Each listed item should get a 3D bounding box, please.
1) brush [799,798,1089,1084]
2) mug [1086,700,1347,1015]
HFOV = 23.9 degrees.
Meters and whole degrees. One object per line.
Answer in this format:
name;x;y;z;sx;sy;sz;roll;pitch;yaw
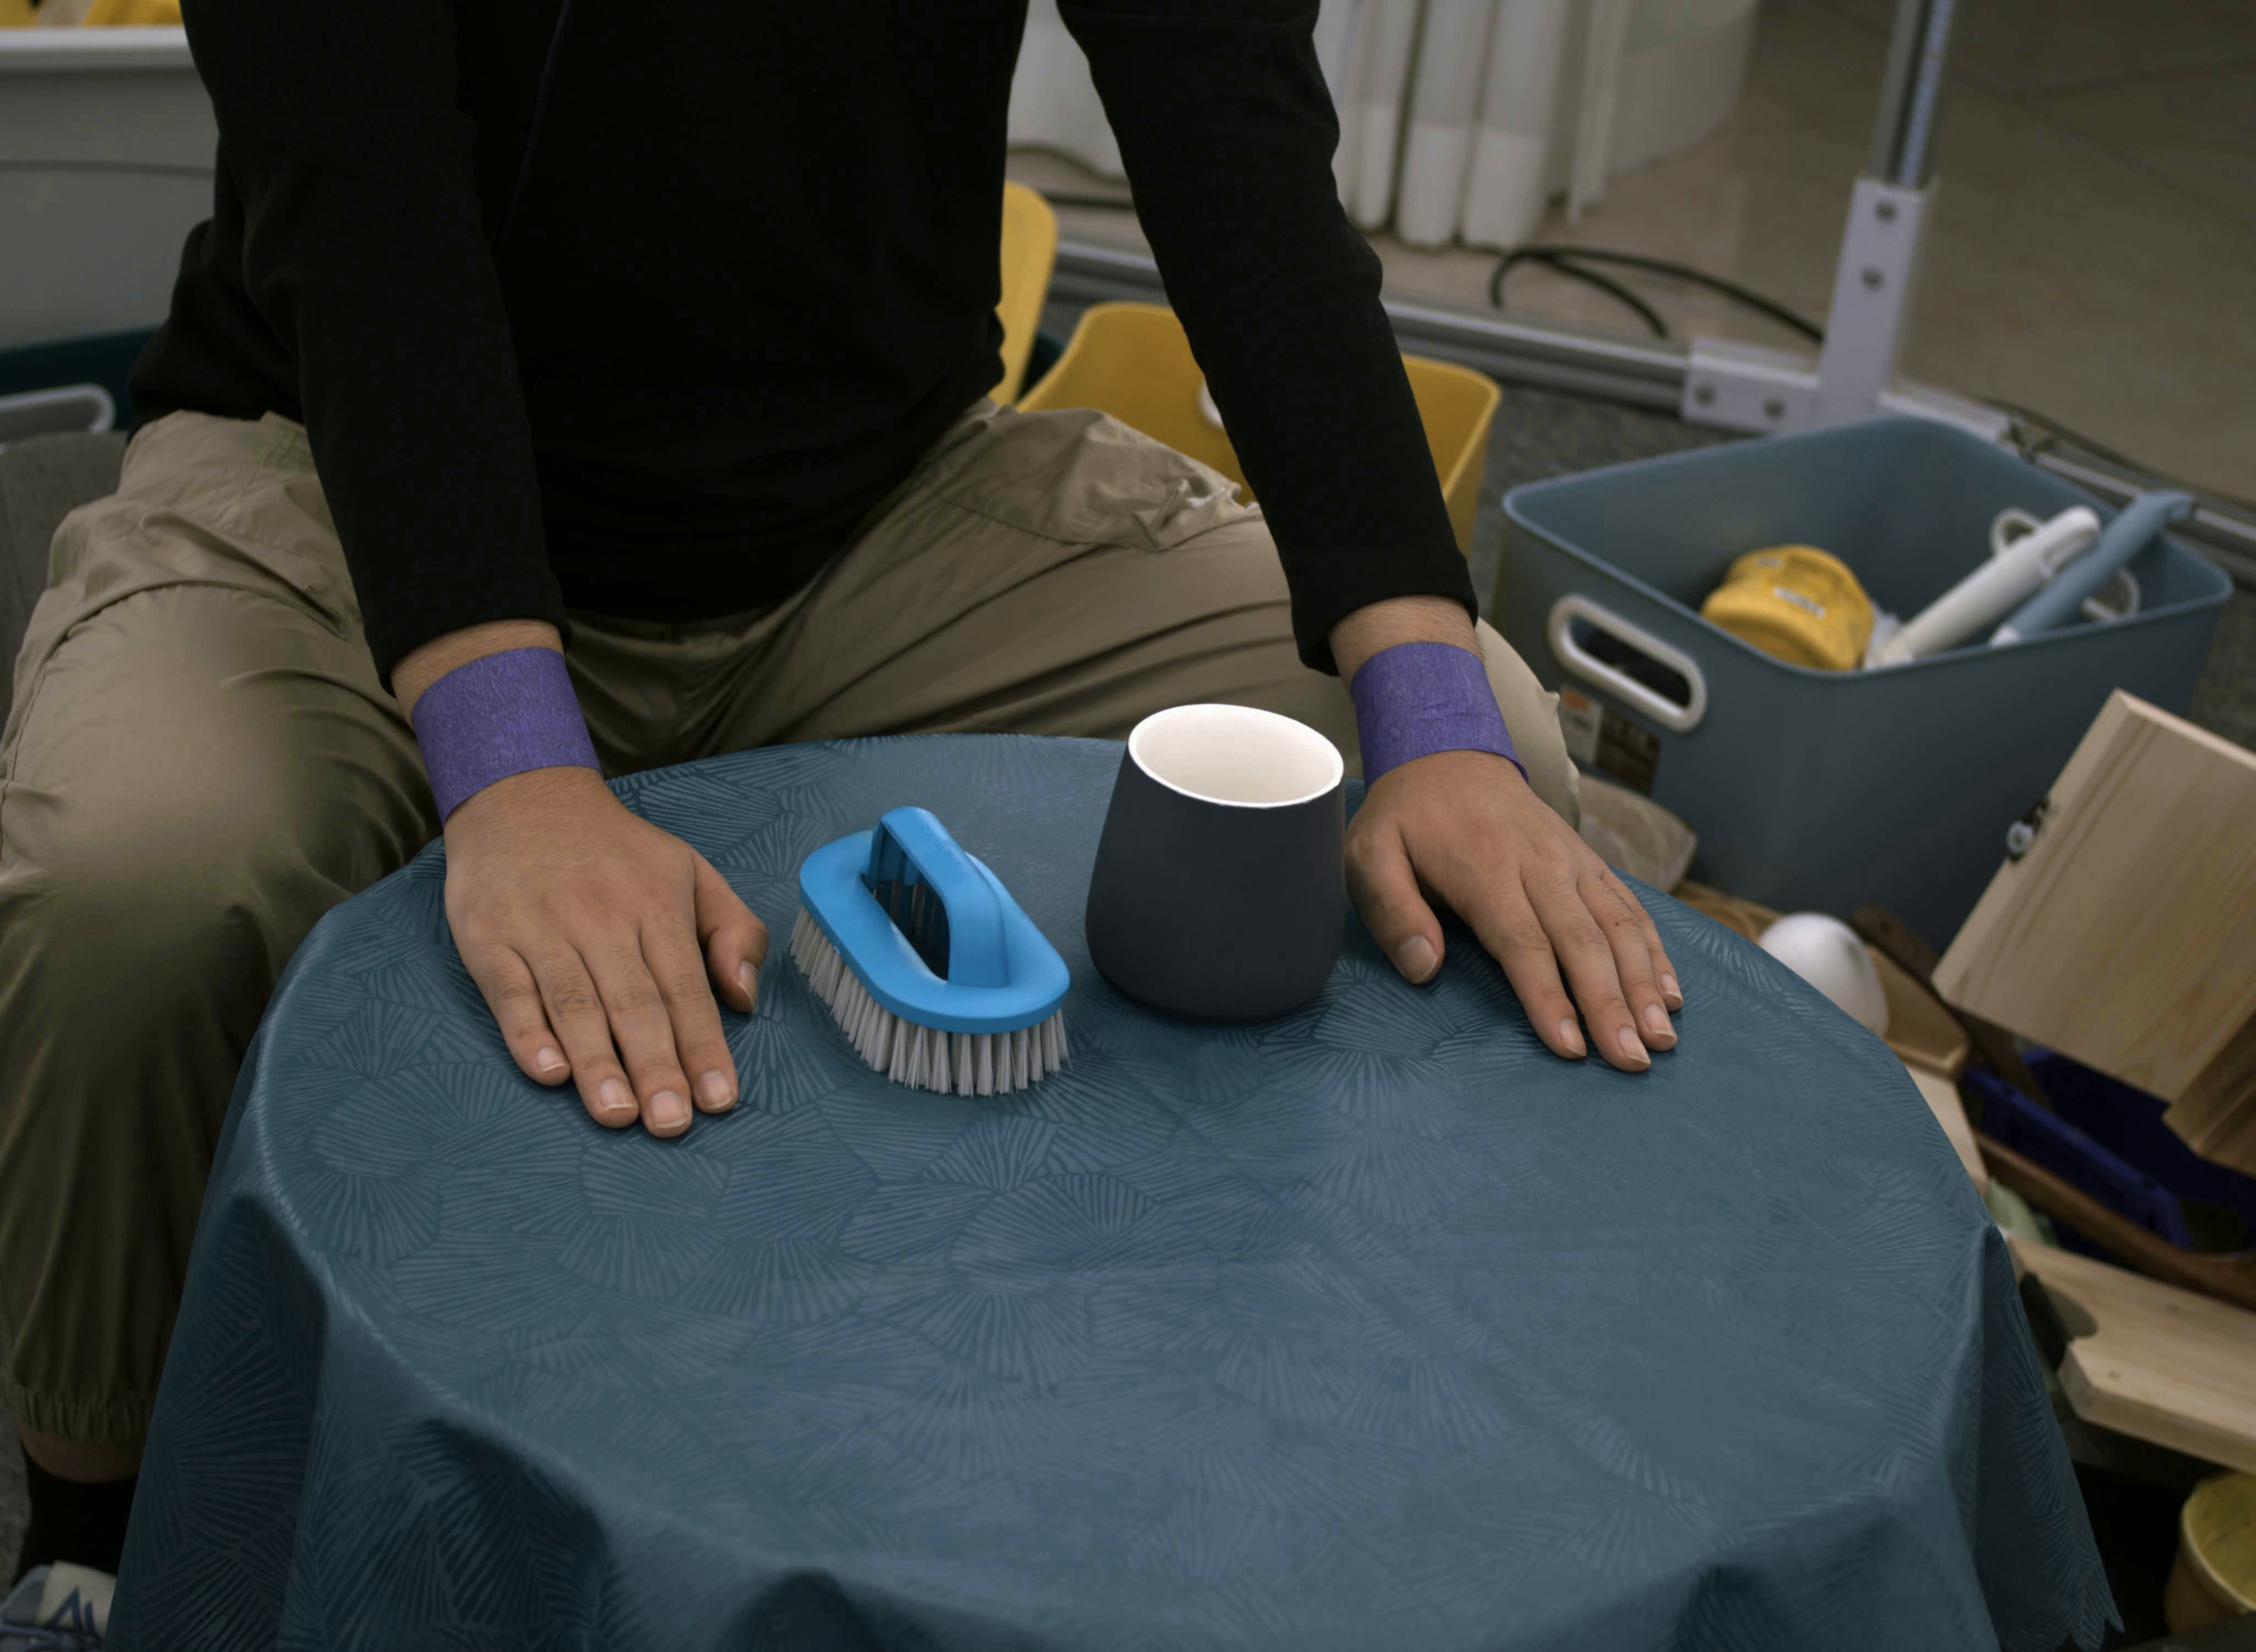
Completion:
brush;-0.067;0.032;1.892;0.084;0.063;0.143;-9;30;-20
mug;0.030;0.005;1.937;0.093;0.089;0.124;-2;30;-19
